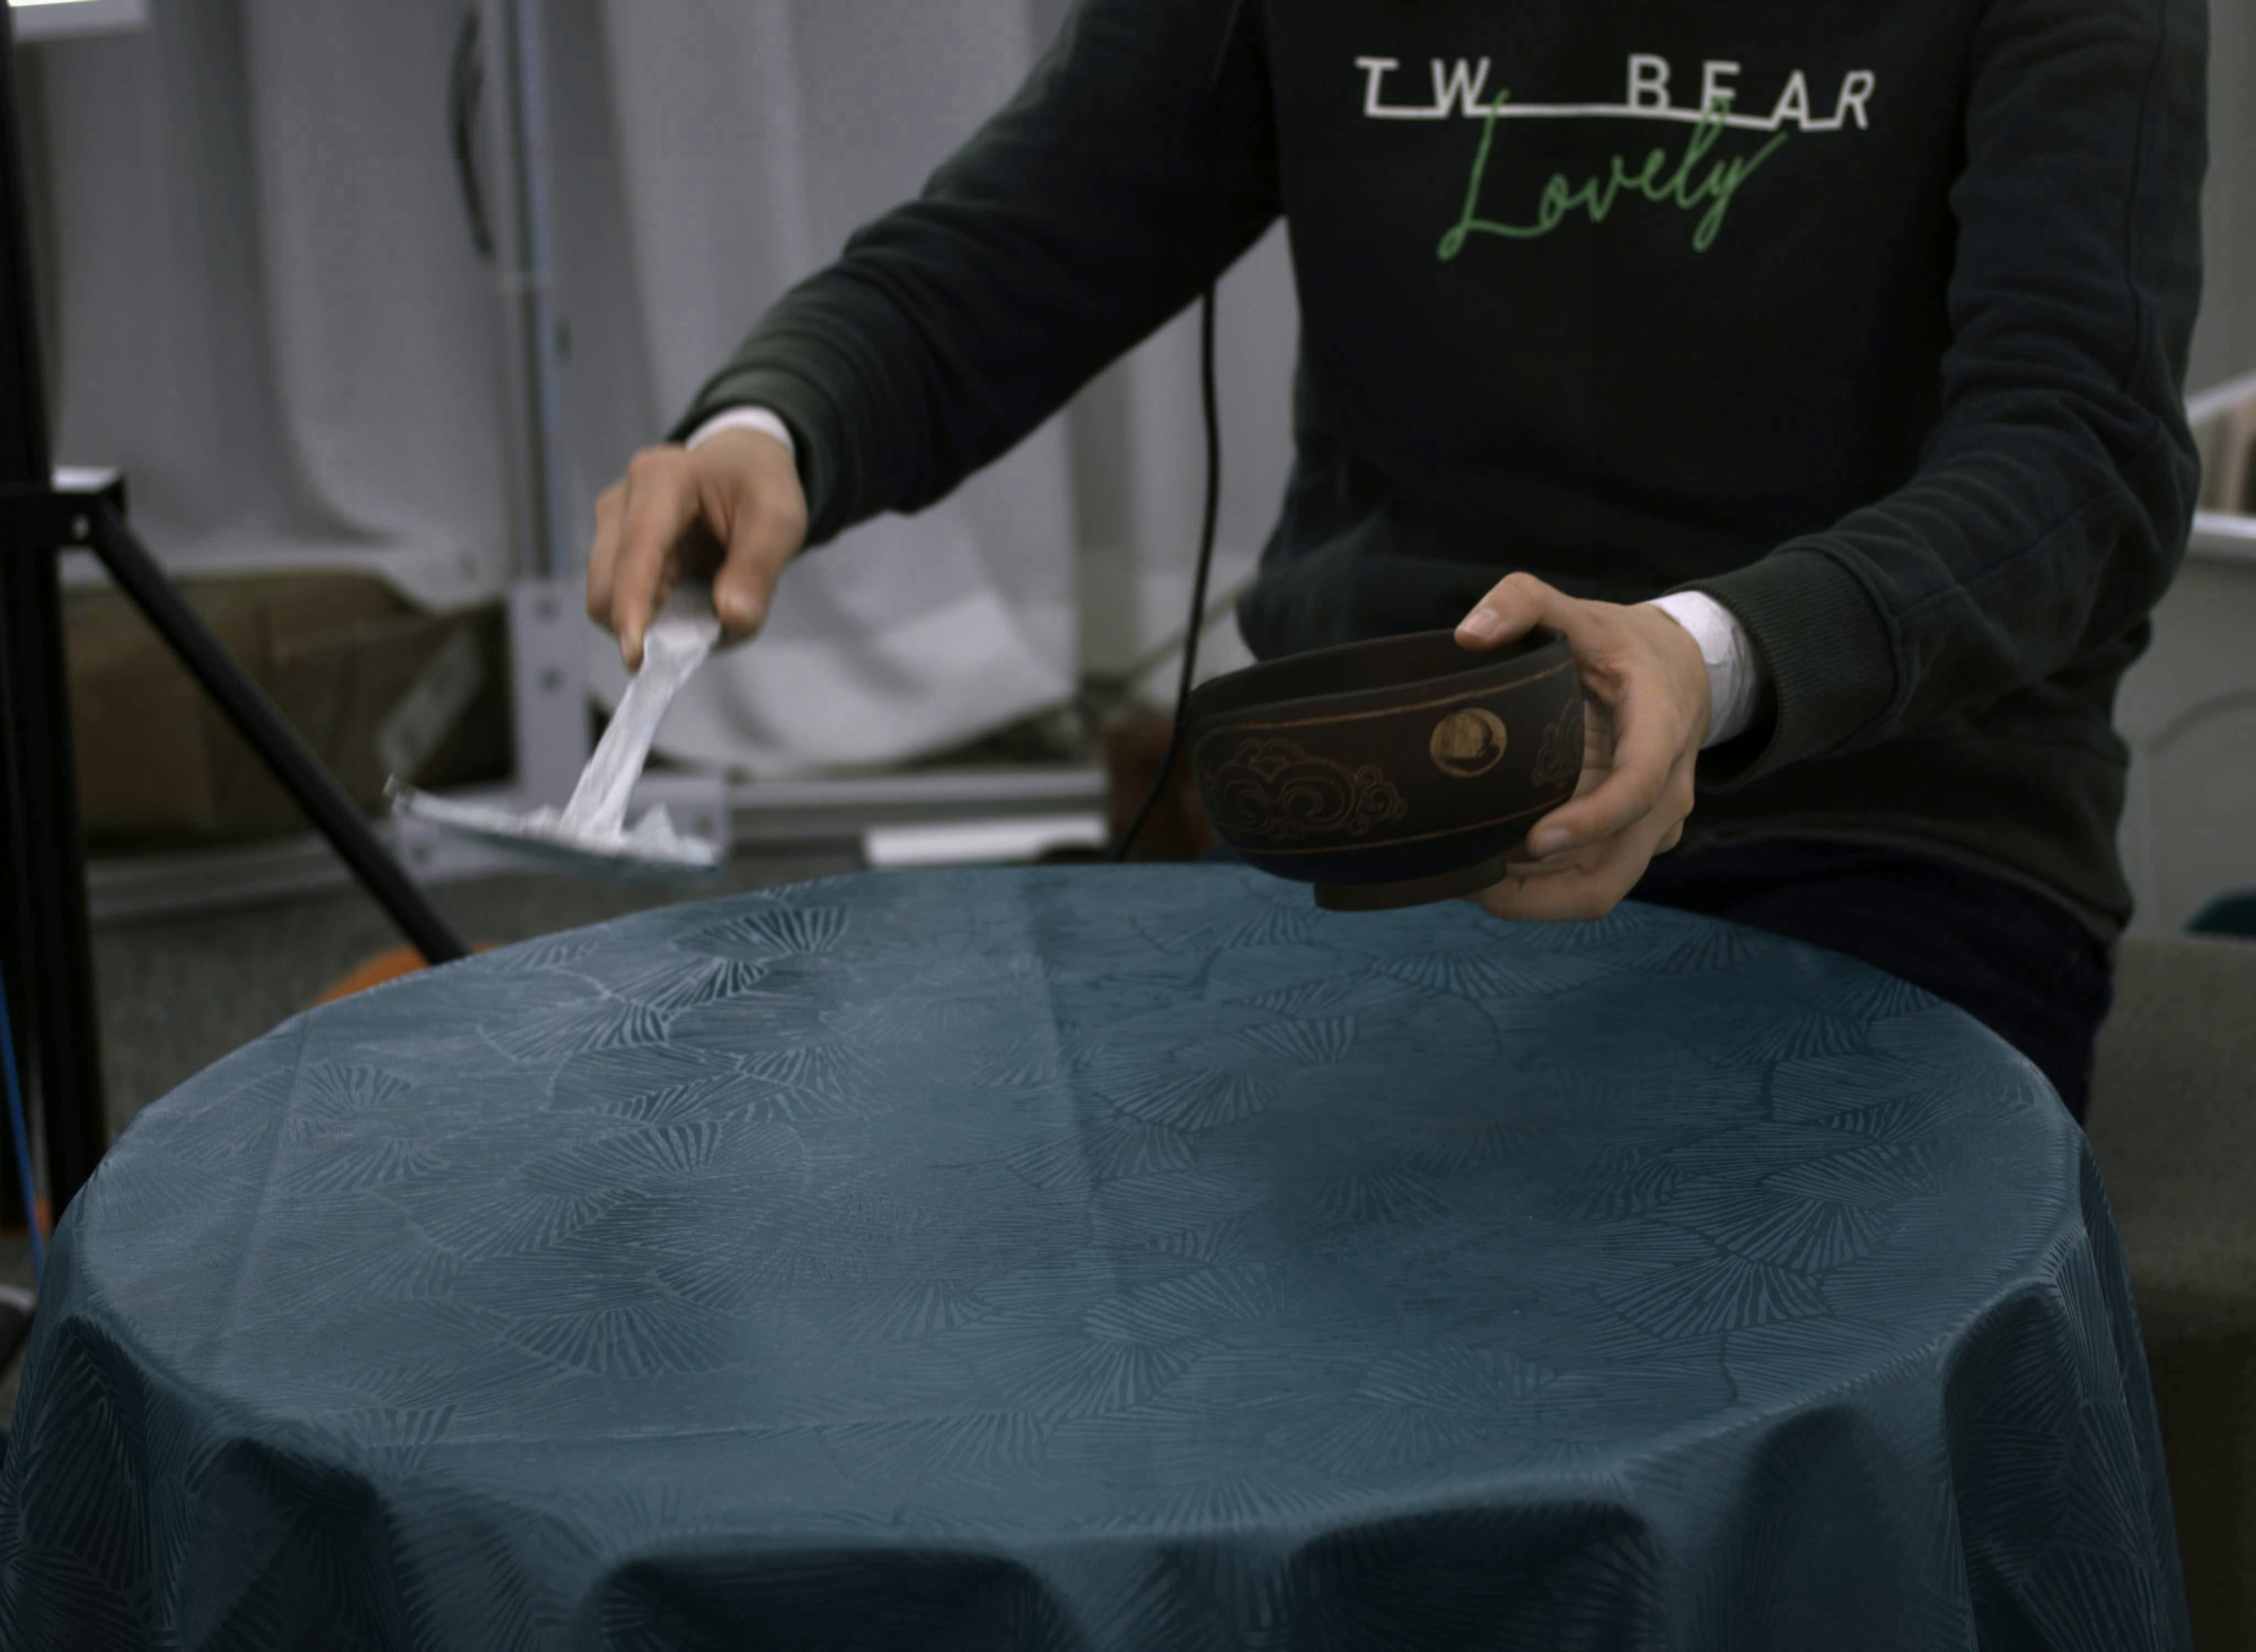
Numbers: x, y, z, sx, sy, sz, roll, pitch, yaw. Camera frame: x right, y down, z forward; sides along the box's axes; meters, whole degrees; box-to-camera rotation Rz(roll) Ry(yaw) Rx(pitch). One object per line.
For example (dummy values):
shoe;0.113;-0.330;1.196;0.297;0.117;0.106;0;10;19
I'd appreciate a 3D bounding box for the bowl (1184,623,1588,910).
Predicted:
bowl;0.077;-0.015;1.554;0.117;0.070;0.118;-8;9;0

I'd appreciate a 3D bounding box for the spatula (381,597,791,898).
spatula;-0.145;-0.035;1.641;0.098;0.045;0.364;10;20;4
